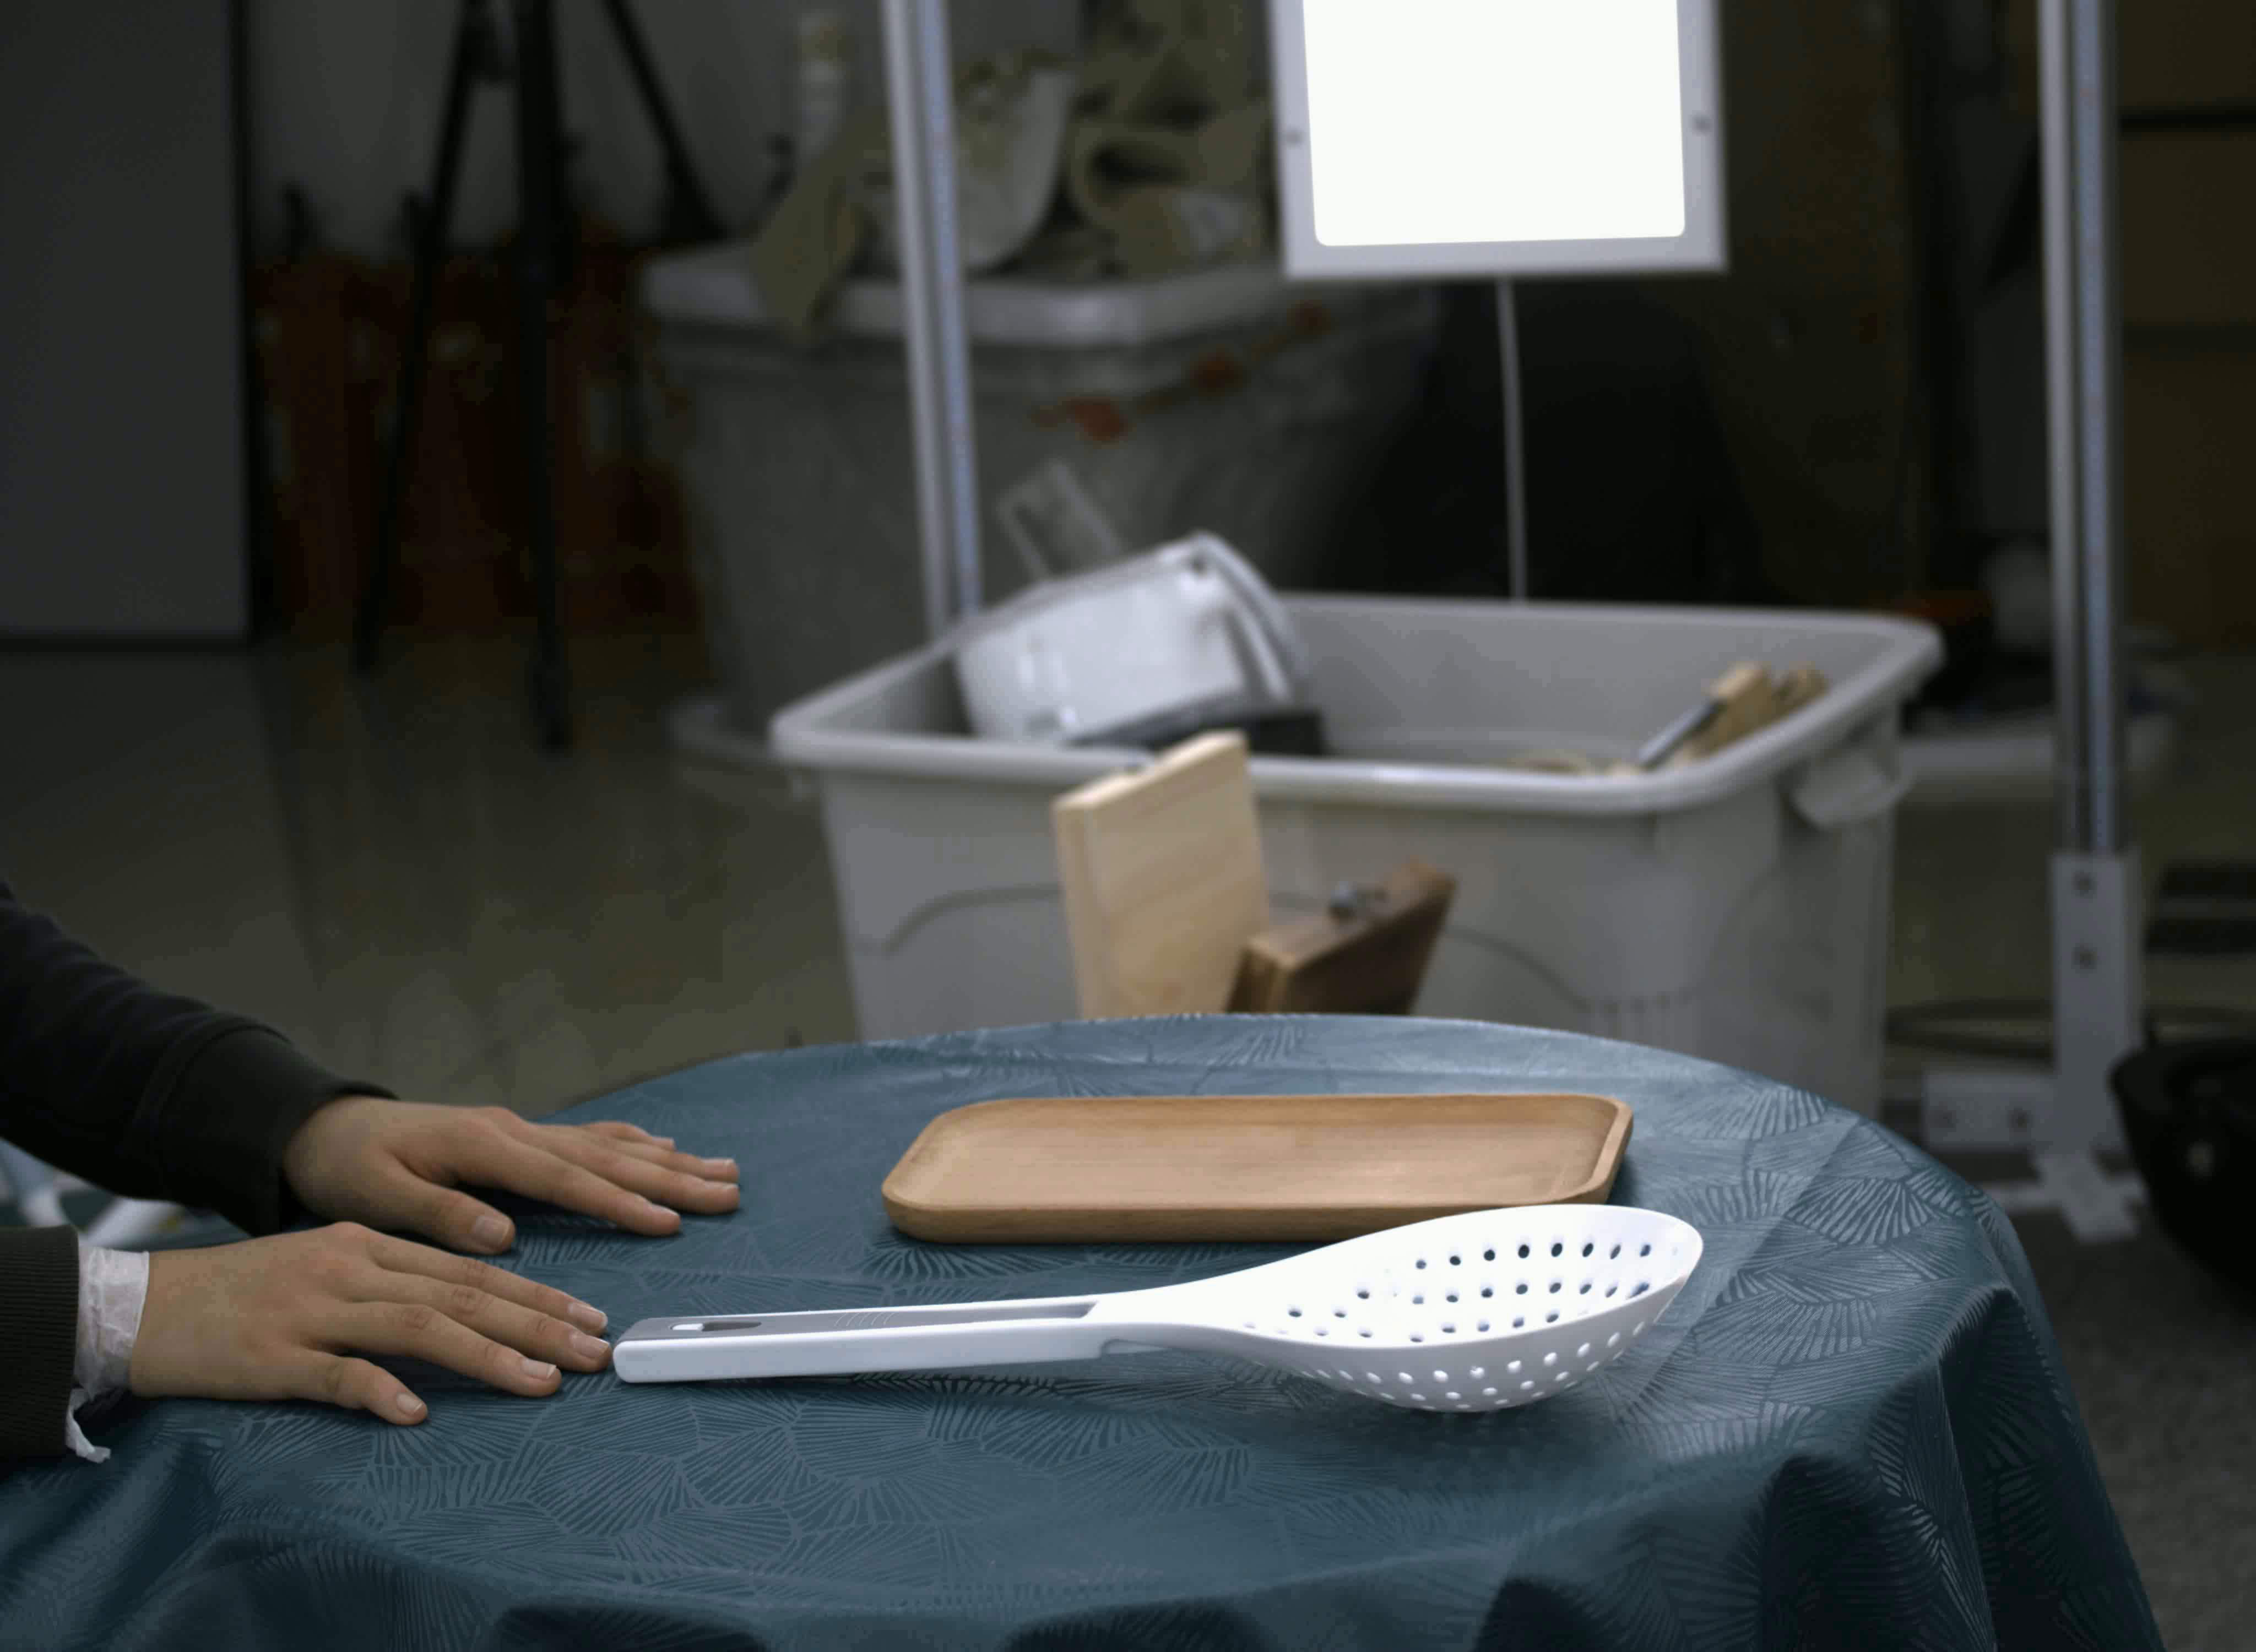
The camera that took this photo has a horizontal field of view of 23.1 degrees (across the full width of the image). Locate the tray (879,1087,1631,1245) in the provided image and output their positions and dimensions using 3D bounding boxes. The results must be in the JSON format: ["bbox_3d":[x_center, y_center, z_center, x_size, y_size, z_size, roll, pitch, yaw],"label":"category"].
[{"bbox_3d":[0.045,0.117,1.886,0.253,0.023,0.129,-2,12,15],"label":"tray"}]

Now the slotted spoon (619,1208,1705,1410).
[{"bbox_3d":[0.006,0.152,1.696,0.354,0.046,0.134,-1,12,19],"label":"slotted spoon"}]
